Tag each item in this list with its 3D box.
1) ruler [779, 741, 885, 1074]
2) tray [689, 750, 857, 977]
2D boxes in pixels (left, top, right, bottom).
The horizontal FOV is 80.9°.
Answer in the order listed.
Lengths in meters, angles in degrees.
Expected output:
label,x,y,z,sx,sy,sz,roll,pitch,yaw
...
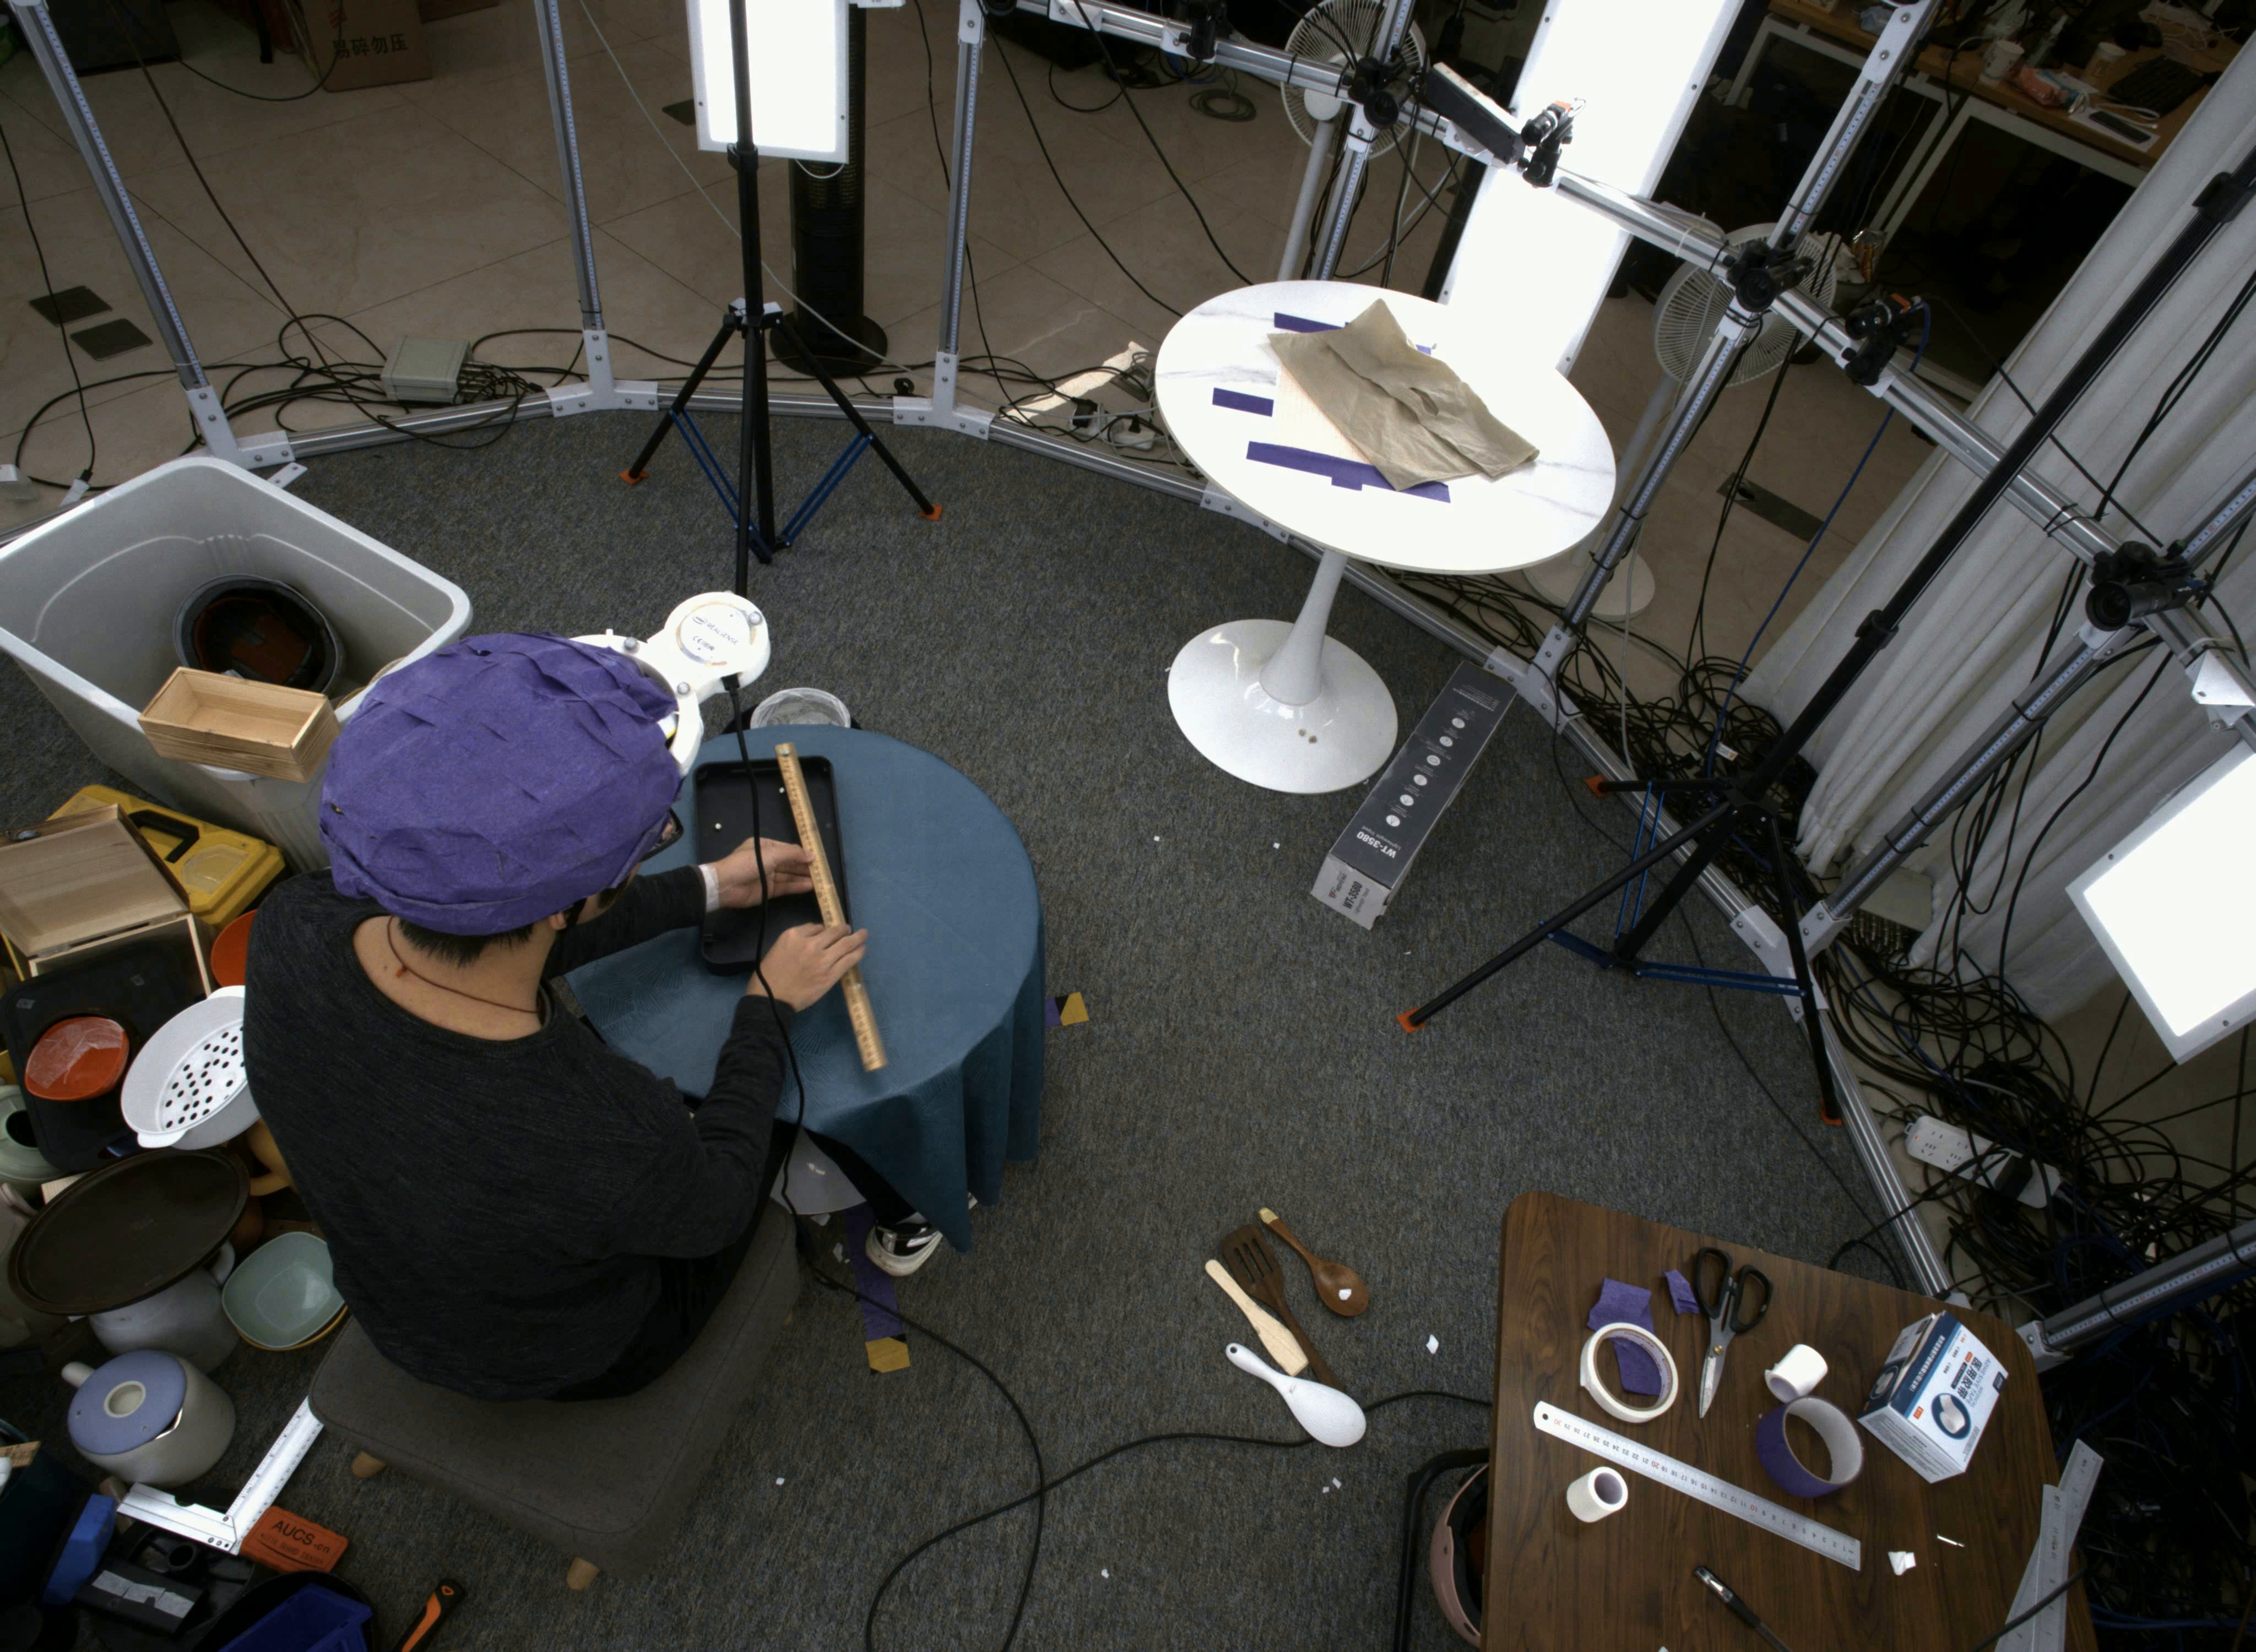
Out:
label,x,y,z,sx,sy,sz,roll,pitch,yaw
ruler,-0.374,0.084,1.610,0.027,0.006,0.488,-14,59,-16
tray,-0.458,0.039,1.658,0.185,0.038,0.310,-6,56,-18
